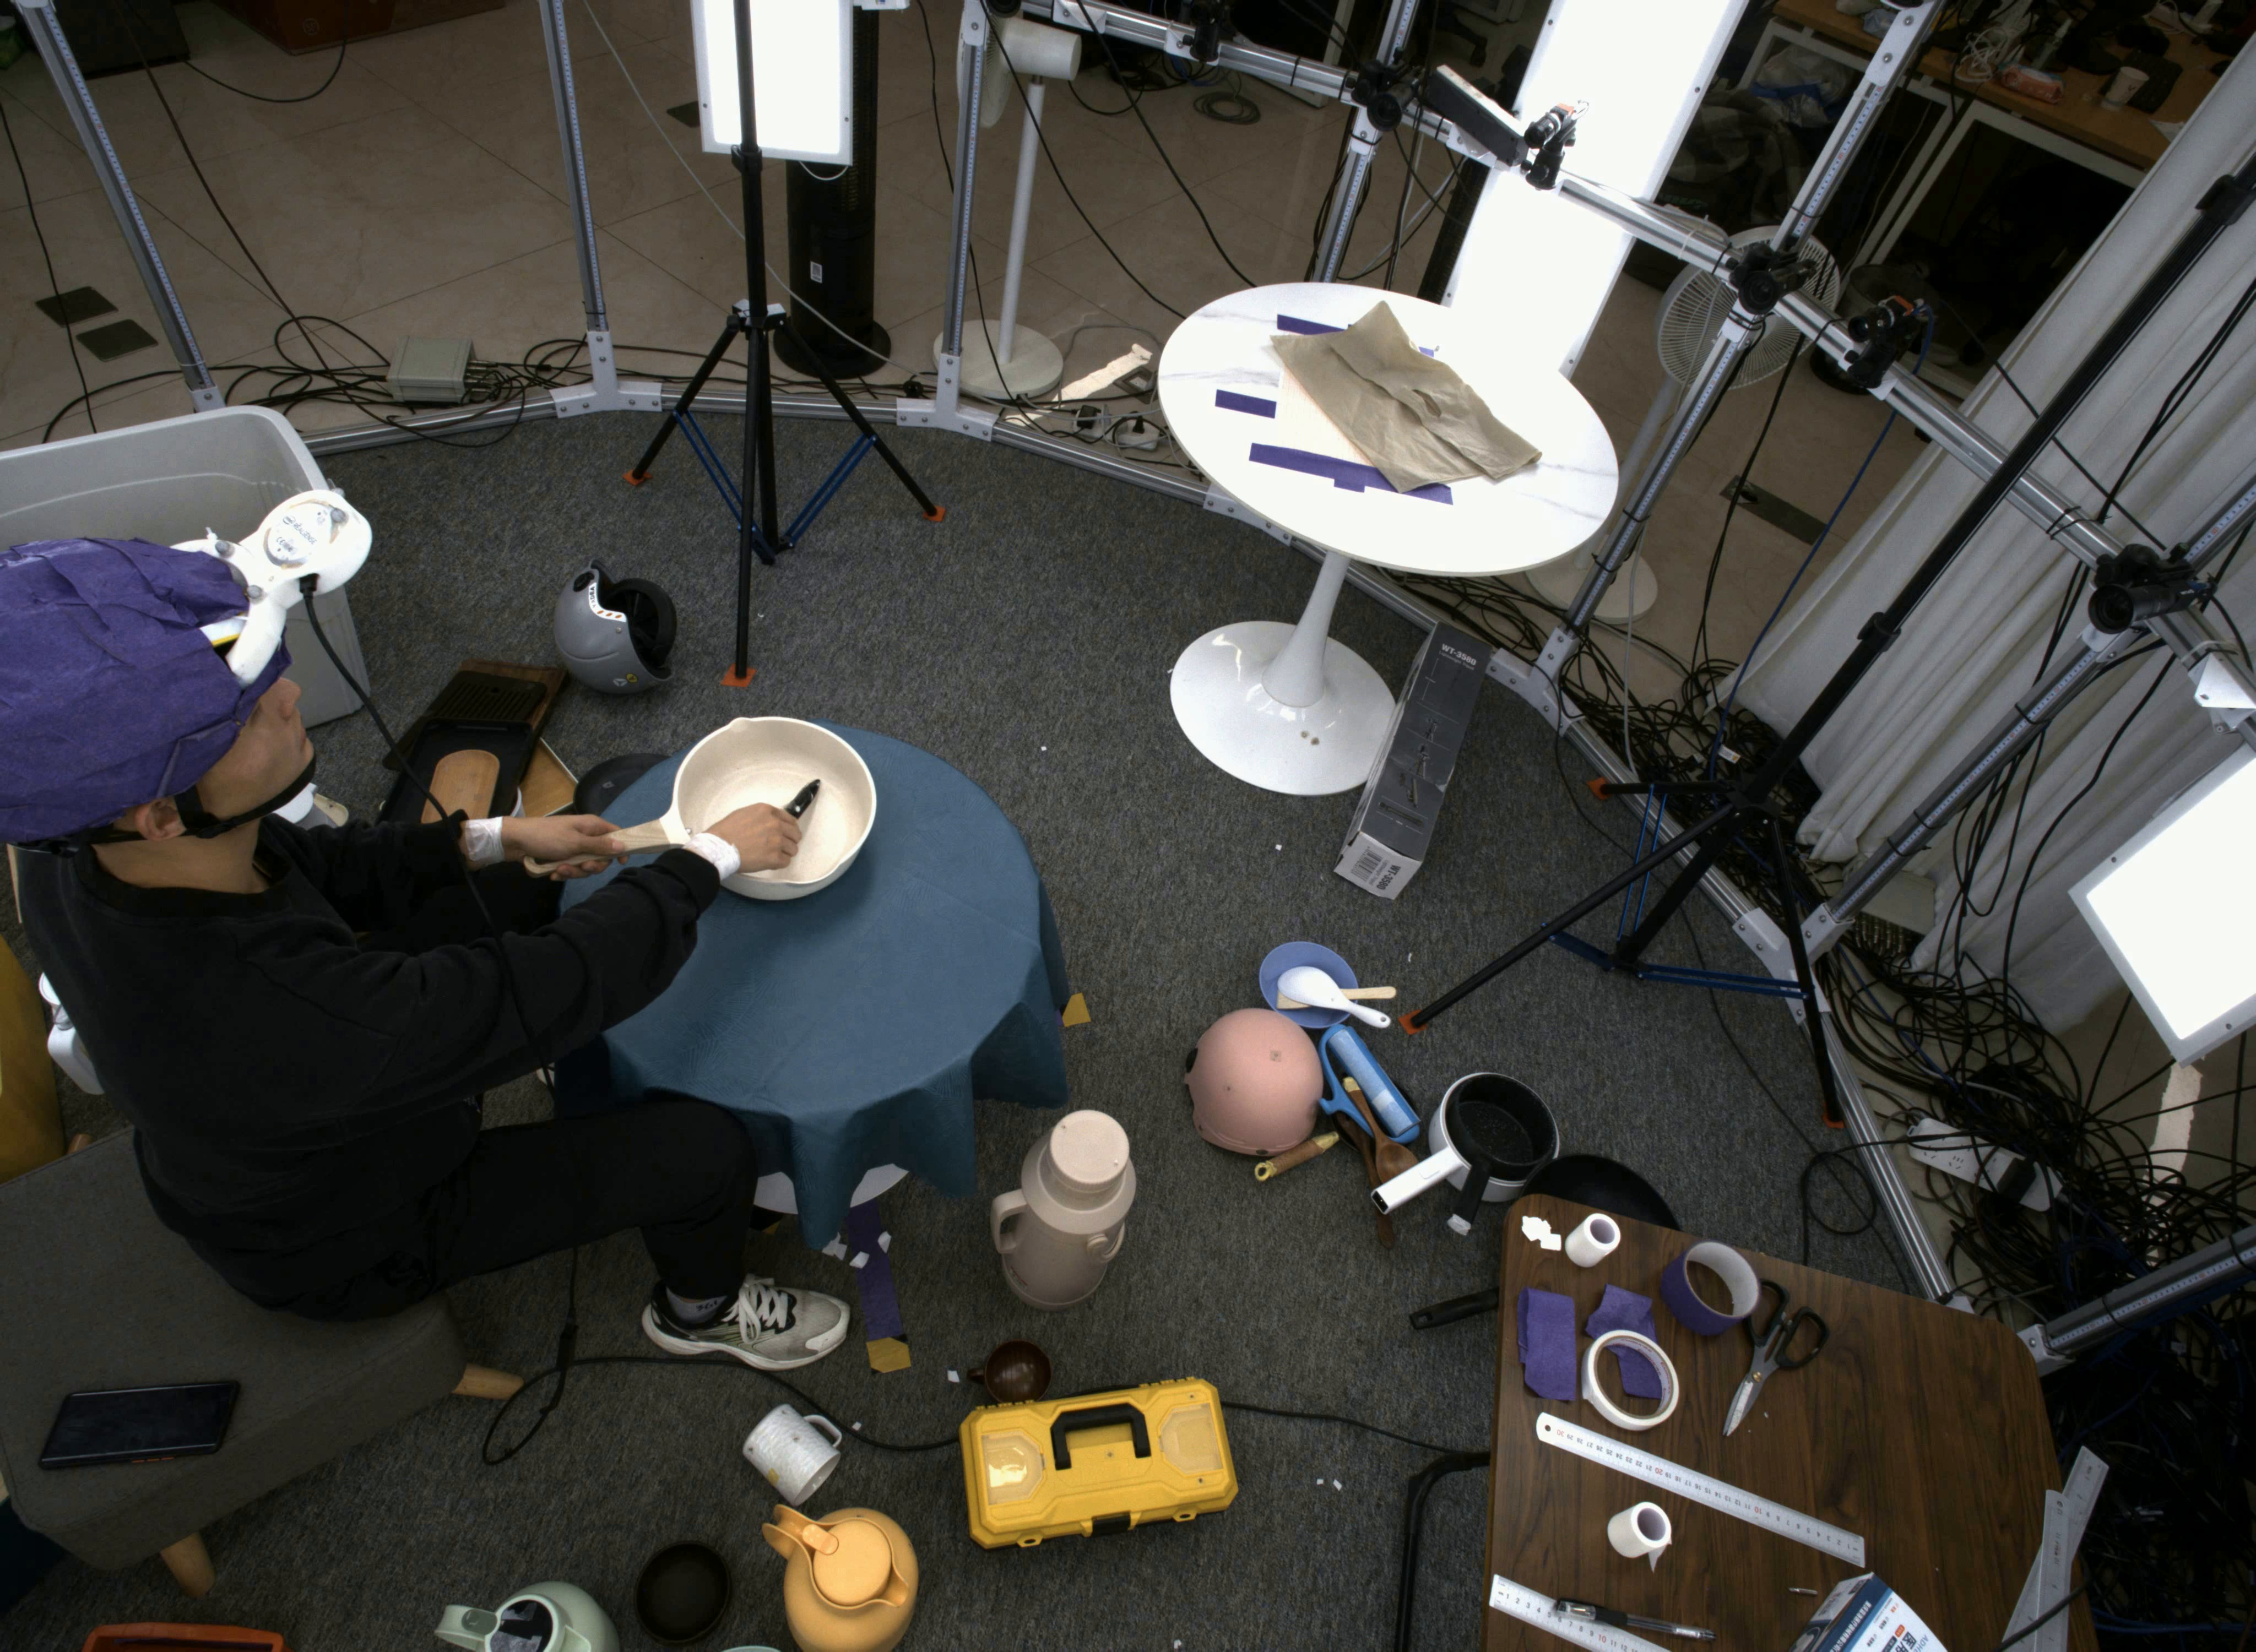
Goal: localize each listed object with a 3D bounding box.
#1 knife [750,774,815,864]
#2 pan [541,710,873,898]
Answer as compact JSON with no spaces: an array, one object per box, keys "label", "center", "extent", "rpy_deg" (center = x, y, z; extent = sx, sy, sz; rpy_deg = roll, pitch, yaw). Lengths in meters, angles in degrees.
[{"label":"knife","center":[-0.433,-0.014,1.650],"extent":[0.026,0.017,0.222],"rpy_deg":[26,30,-6]},{"label":"pan","center":[-0.531,0.004,1.612],"extent":[0.437,0.103,0.259],"rpy_deg":[-21,69,-28]}]
